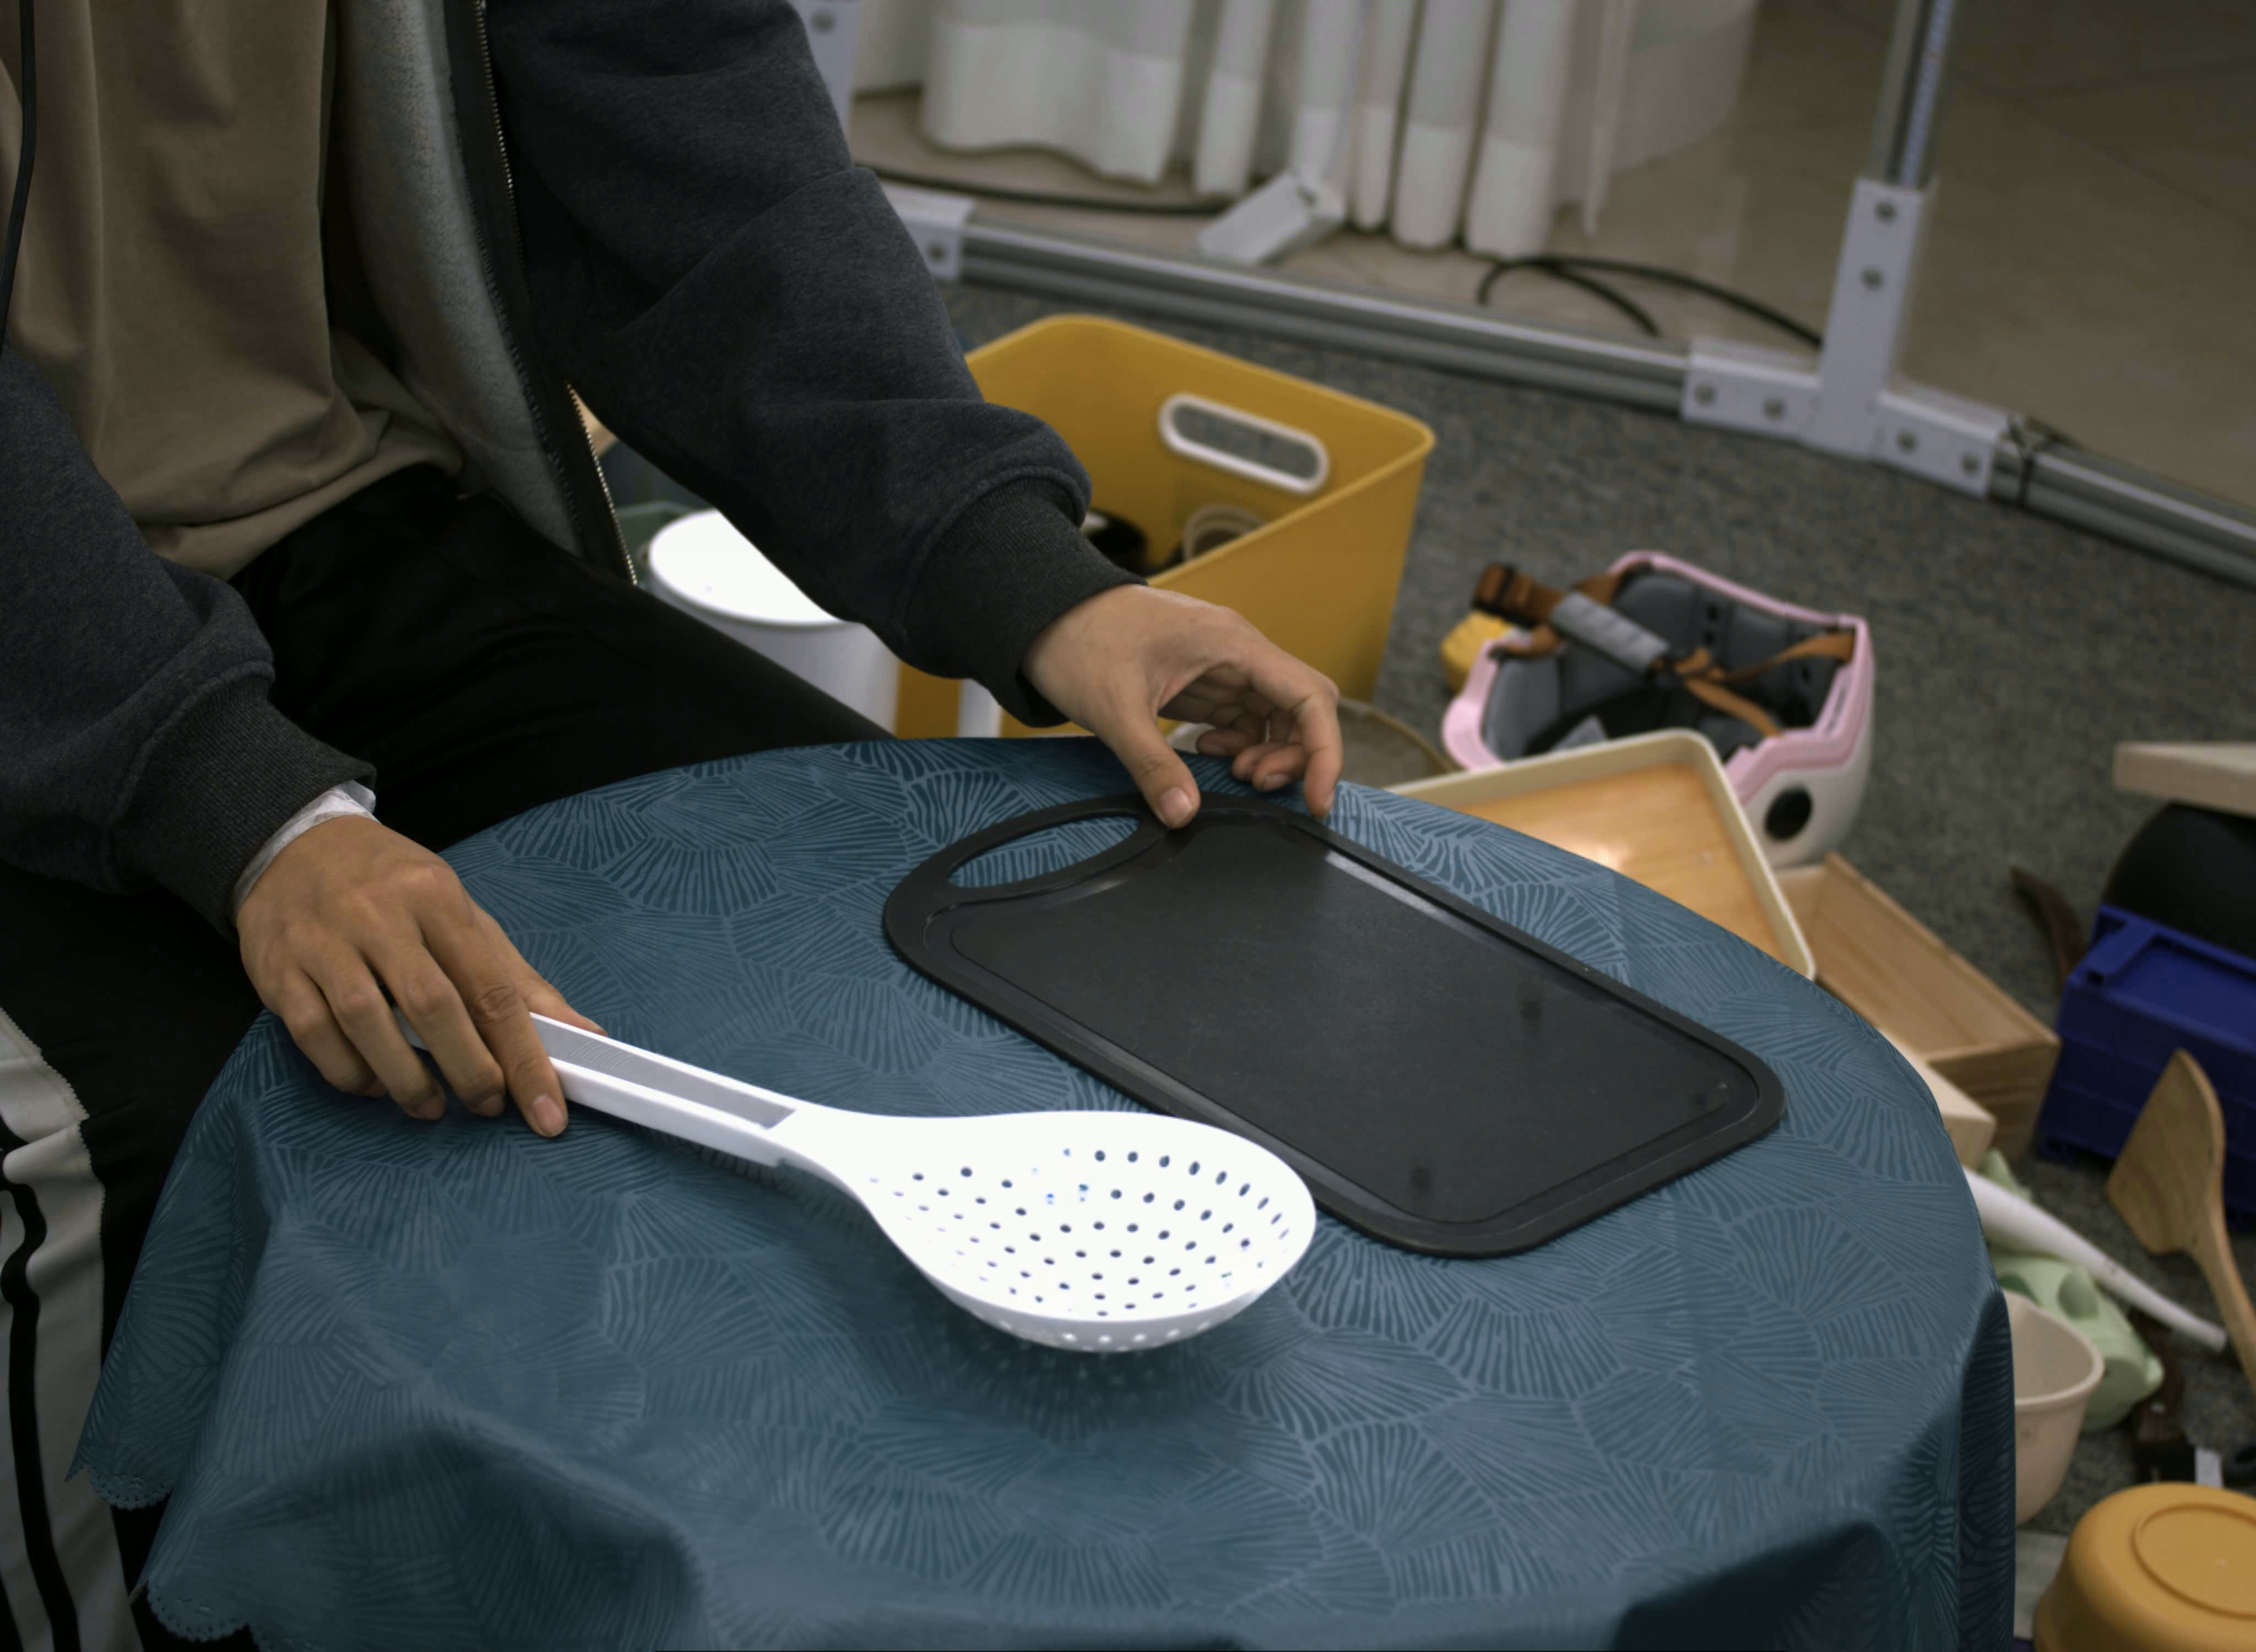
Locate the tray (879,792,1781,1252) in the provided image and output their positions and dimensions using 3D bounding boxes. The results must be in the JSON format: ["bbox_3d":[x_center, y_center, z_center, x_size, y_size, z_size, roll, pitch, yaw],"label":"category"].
[{"bbox_3d":[0.064,0.062,1.930,0.210,0.010,0.328,-20,37,-41],"label":"tray"}]

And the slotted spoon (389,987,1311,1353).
[{"bbox_3d":[-0.101,0.106,1.763,0.351,0.045,0.136,20,30,26],"label":"slotted spoon"}]
